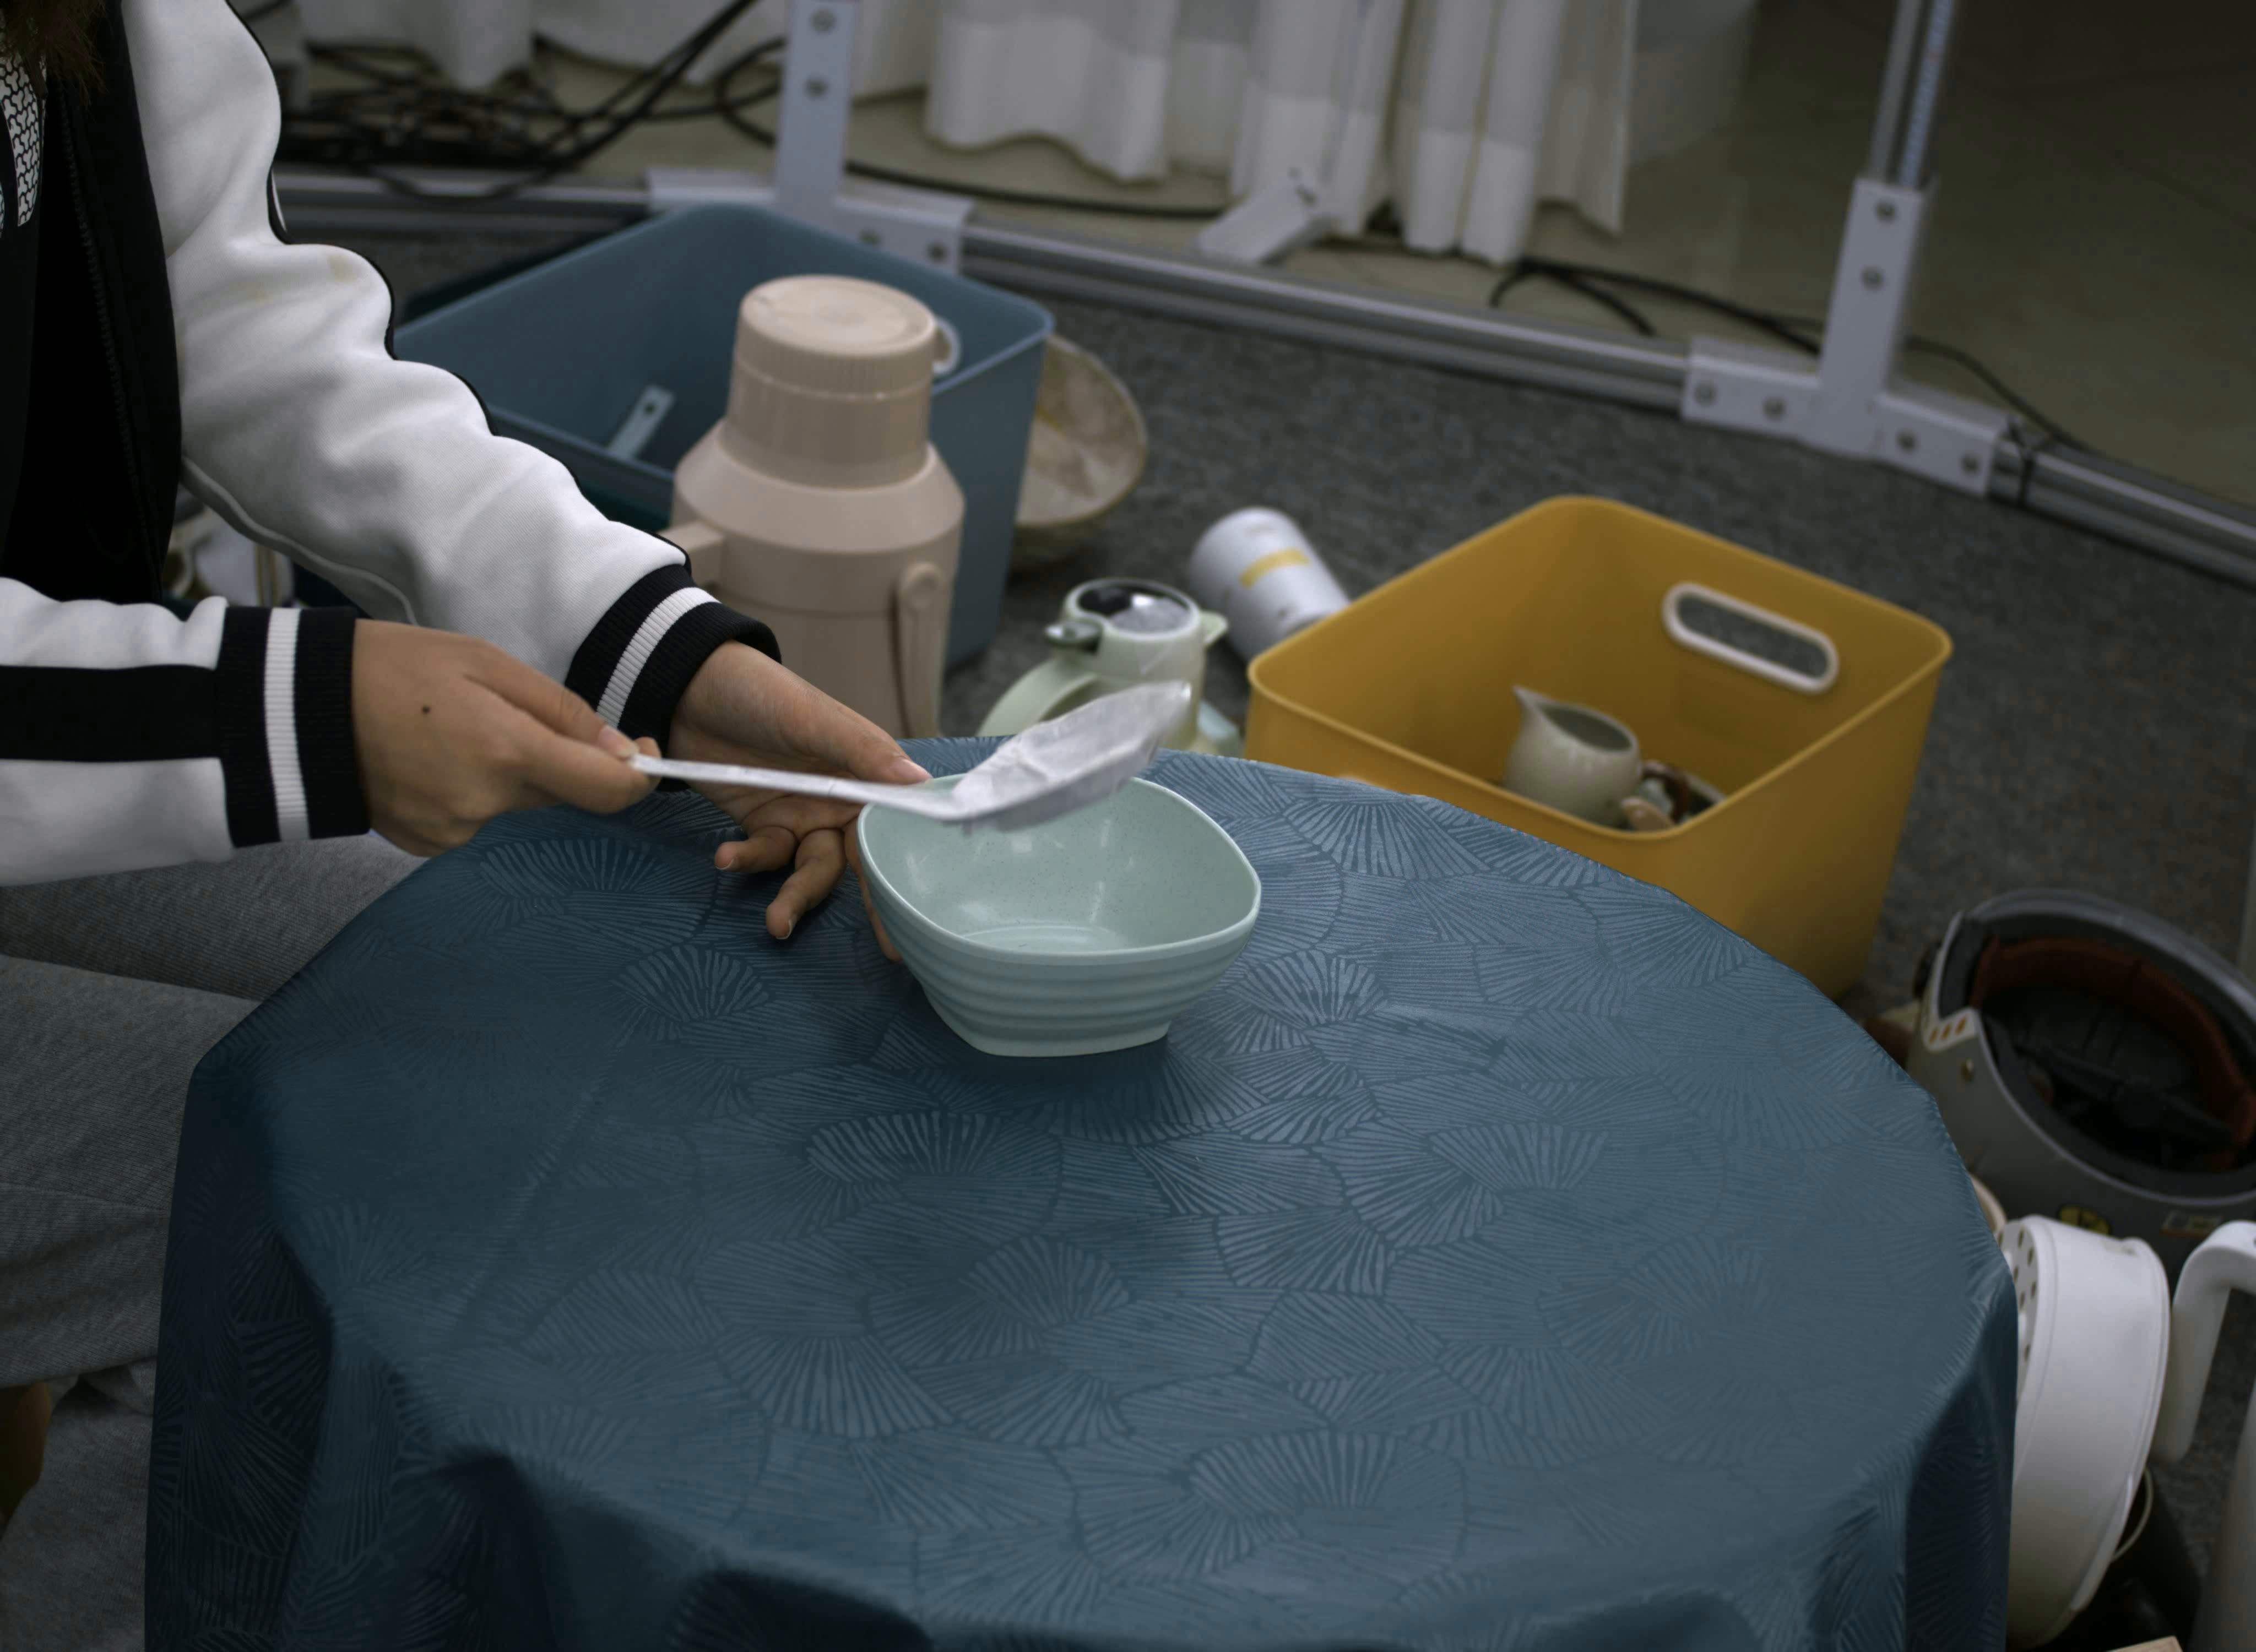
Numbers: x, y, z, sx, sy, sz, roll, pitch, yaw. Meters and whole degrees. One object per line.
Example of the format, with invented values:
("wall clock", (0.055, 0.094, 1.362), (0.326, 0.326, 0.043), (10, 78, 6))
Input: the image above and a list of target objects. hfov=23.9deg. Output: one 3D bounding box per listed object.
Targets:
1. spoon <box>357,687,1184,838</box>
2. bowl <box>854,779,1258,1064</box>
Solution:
("spoon", (-0.121, -0.041, 1.781), (0.277, 0.059, 0.101), (11, 15, 6))
("bowl", (-0.029, 0.039, 1.904), (0.151, 0.058, 0.152), (5, 26, -3))
